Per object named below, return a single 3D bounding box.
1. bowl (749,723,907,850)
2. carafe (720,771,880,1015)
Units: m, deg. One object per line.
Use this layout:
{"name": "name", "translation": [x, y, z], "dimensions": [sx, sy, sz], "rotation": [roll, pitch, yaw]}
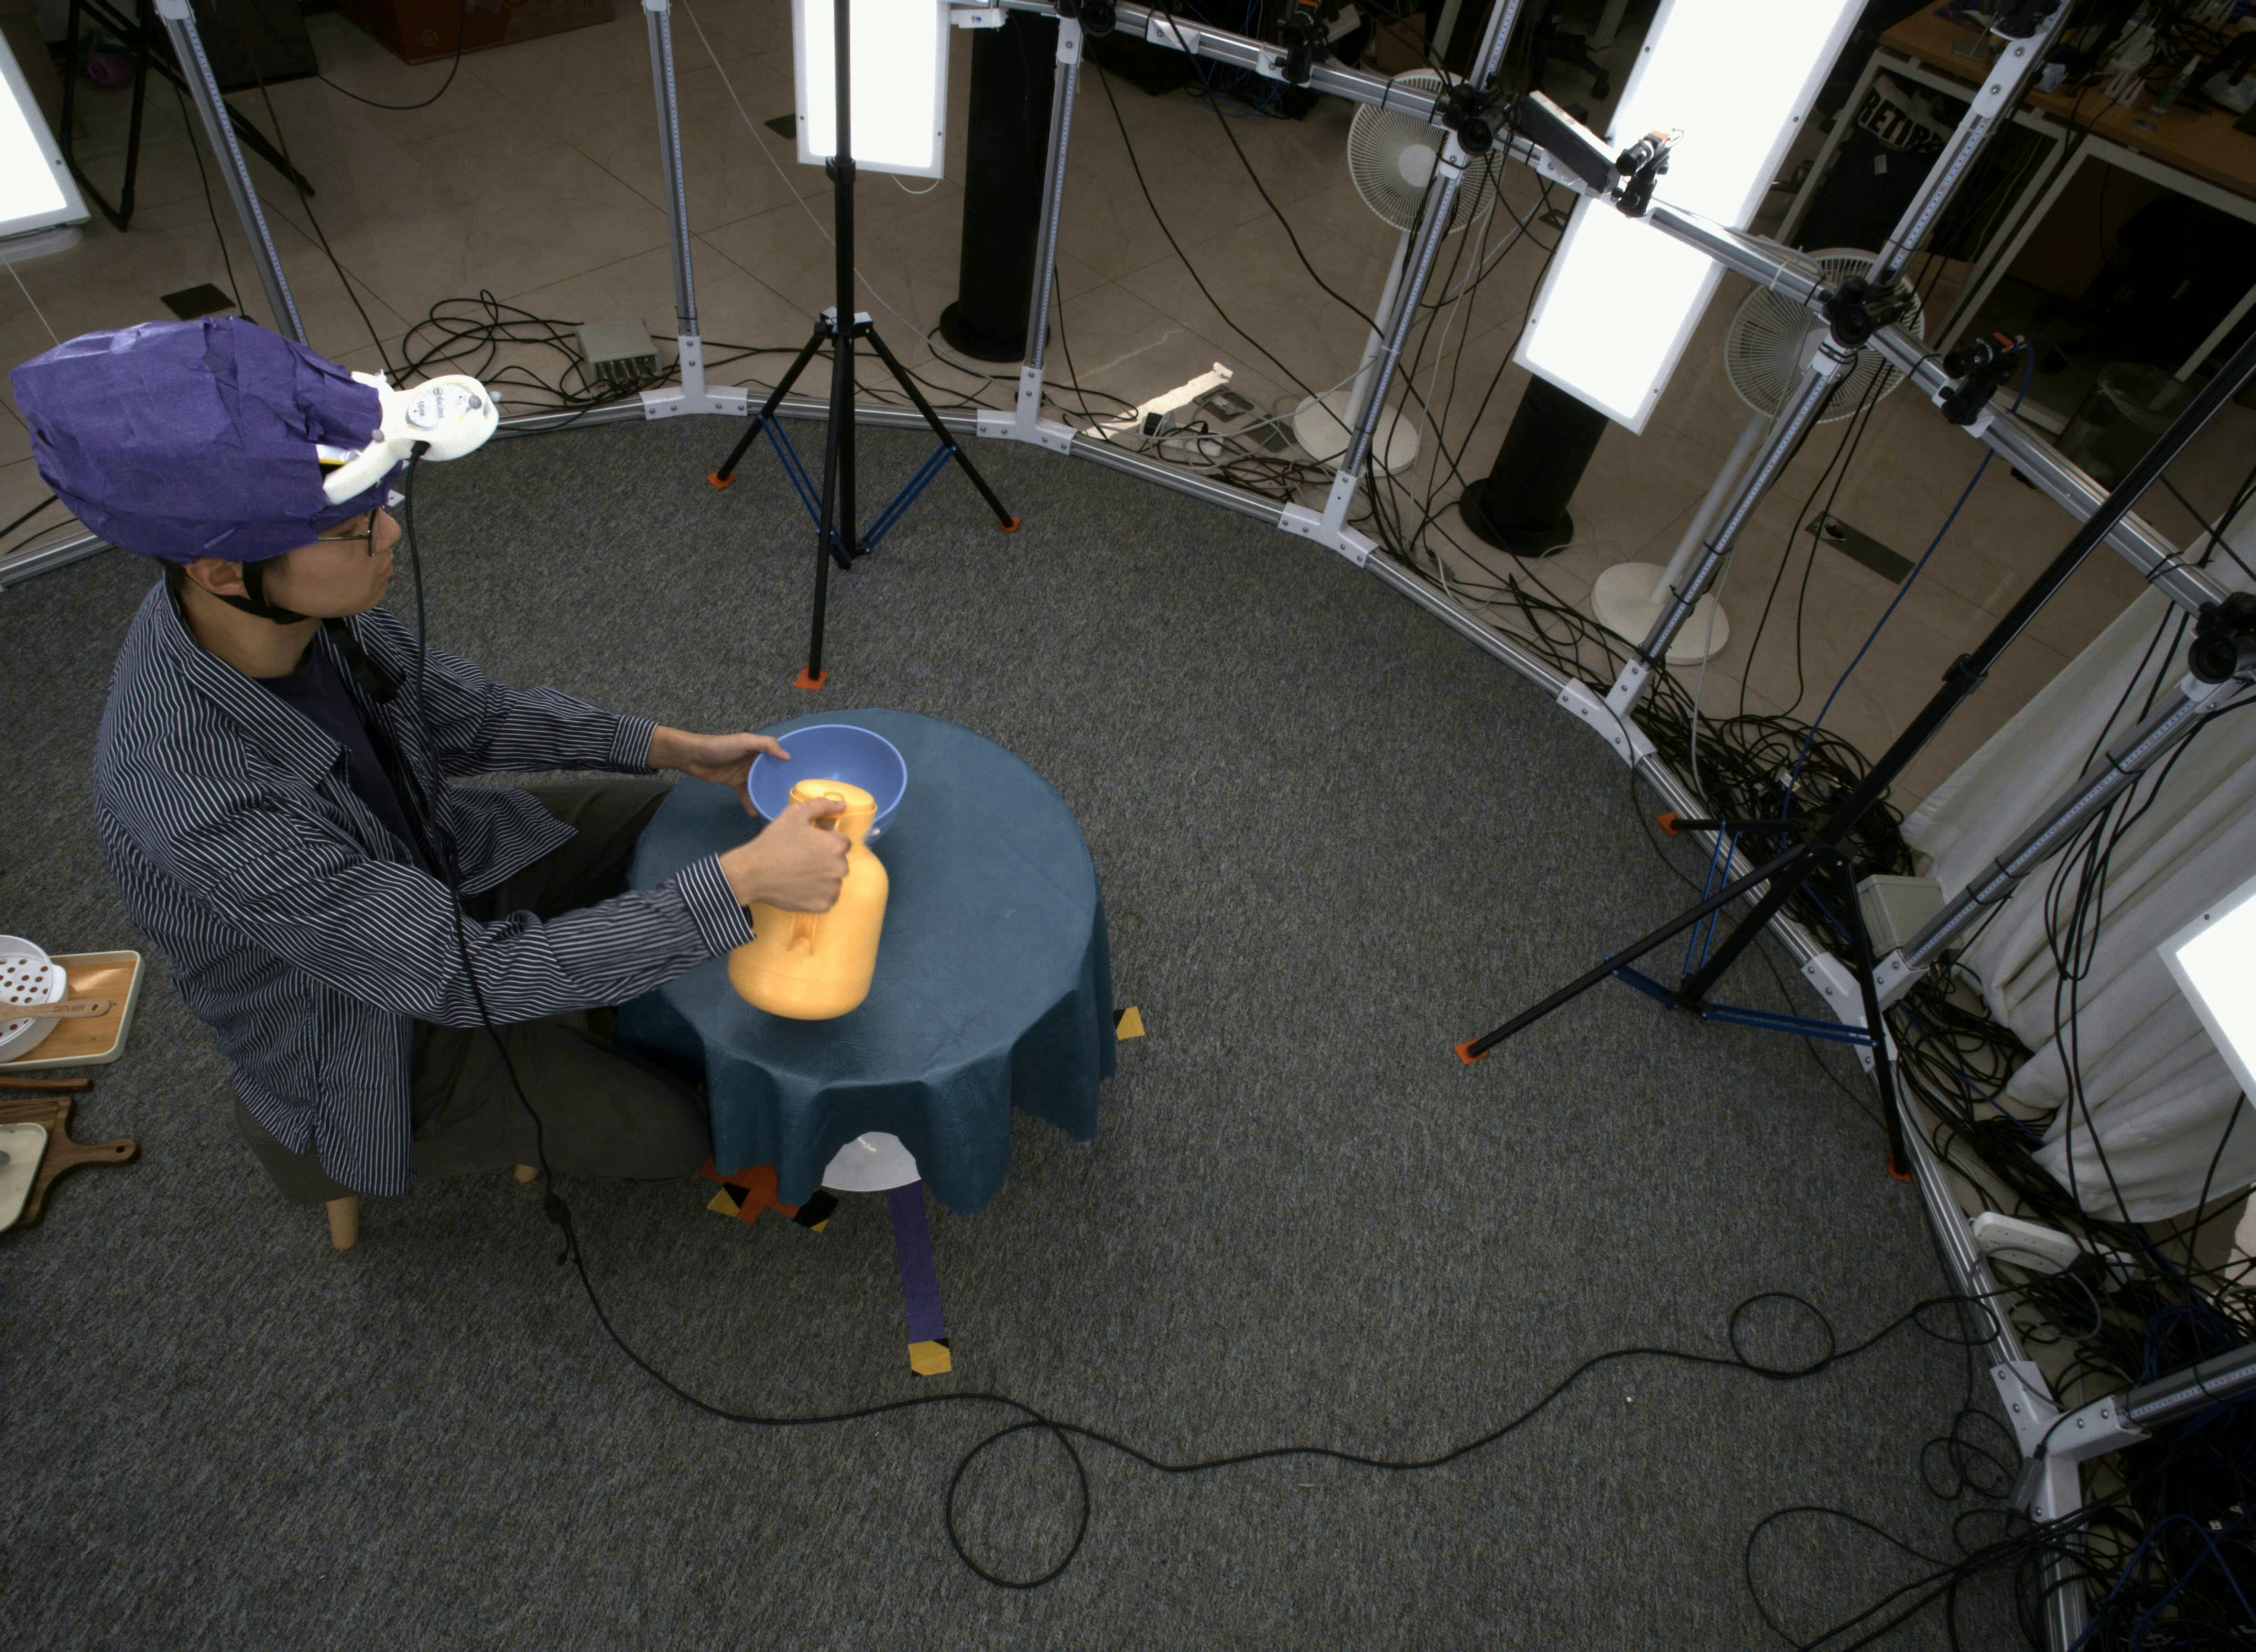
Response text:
{"name": "bowl", "translation": [-0.379, -0.029, 1.658], "dimensions": [0.195, 0.098, 0.192], "rotation": [5, 48, -4]}
{"name": "carafe", "translation": [-0.365, 0.076, 1.458], "dimensions": [0.164, 0.265, 0.198], "rotation": [12, 15, -11]}
